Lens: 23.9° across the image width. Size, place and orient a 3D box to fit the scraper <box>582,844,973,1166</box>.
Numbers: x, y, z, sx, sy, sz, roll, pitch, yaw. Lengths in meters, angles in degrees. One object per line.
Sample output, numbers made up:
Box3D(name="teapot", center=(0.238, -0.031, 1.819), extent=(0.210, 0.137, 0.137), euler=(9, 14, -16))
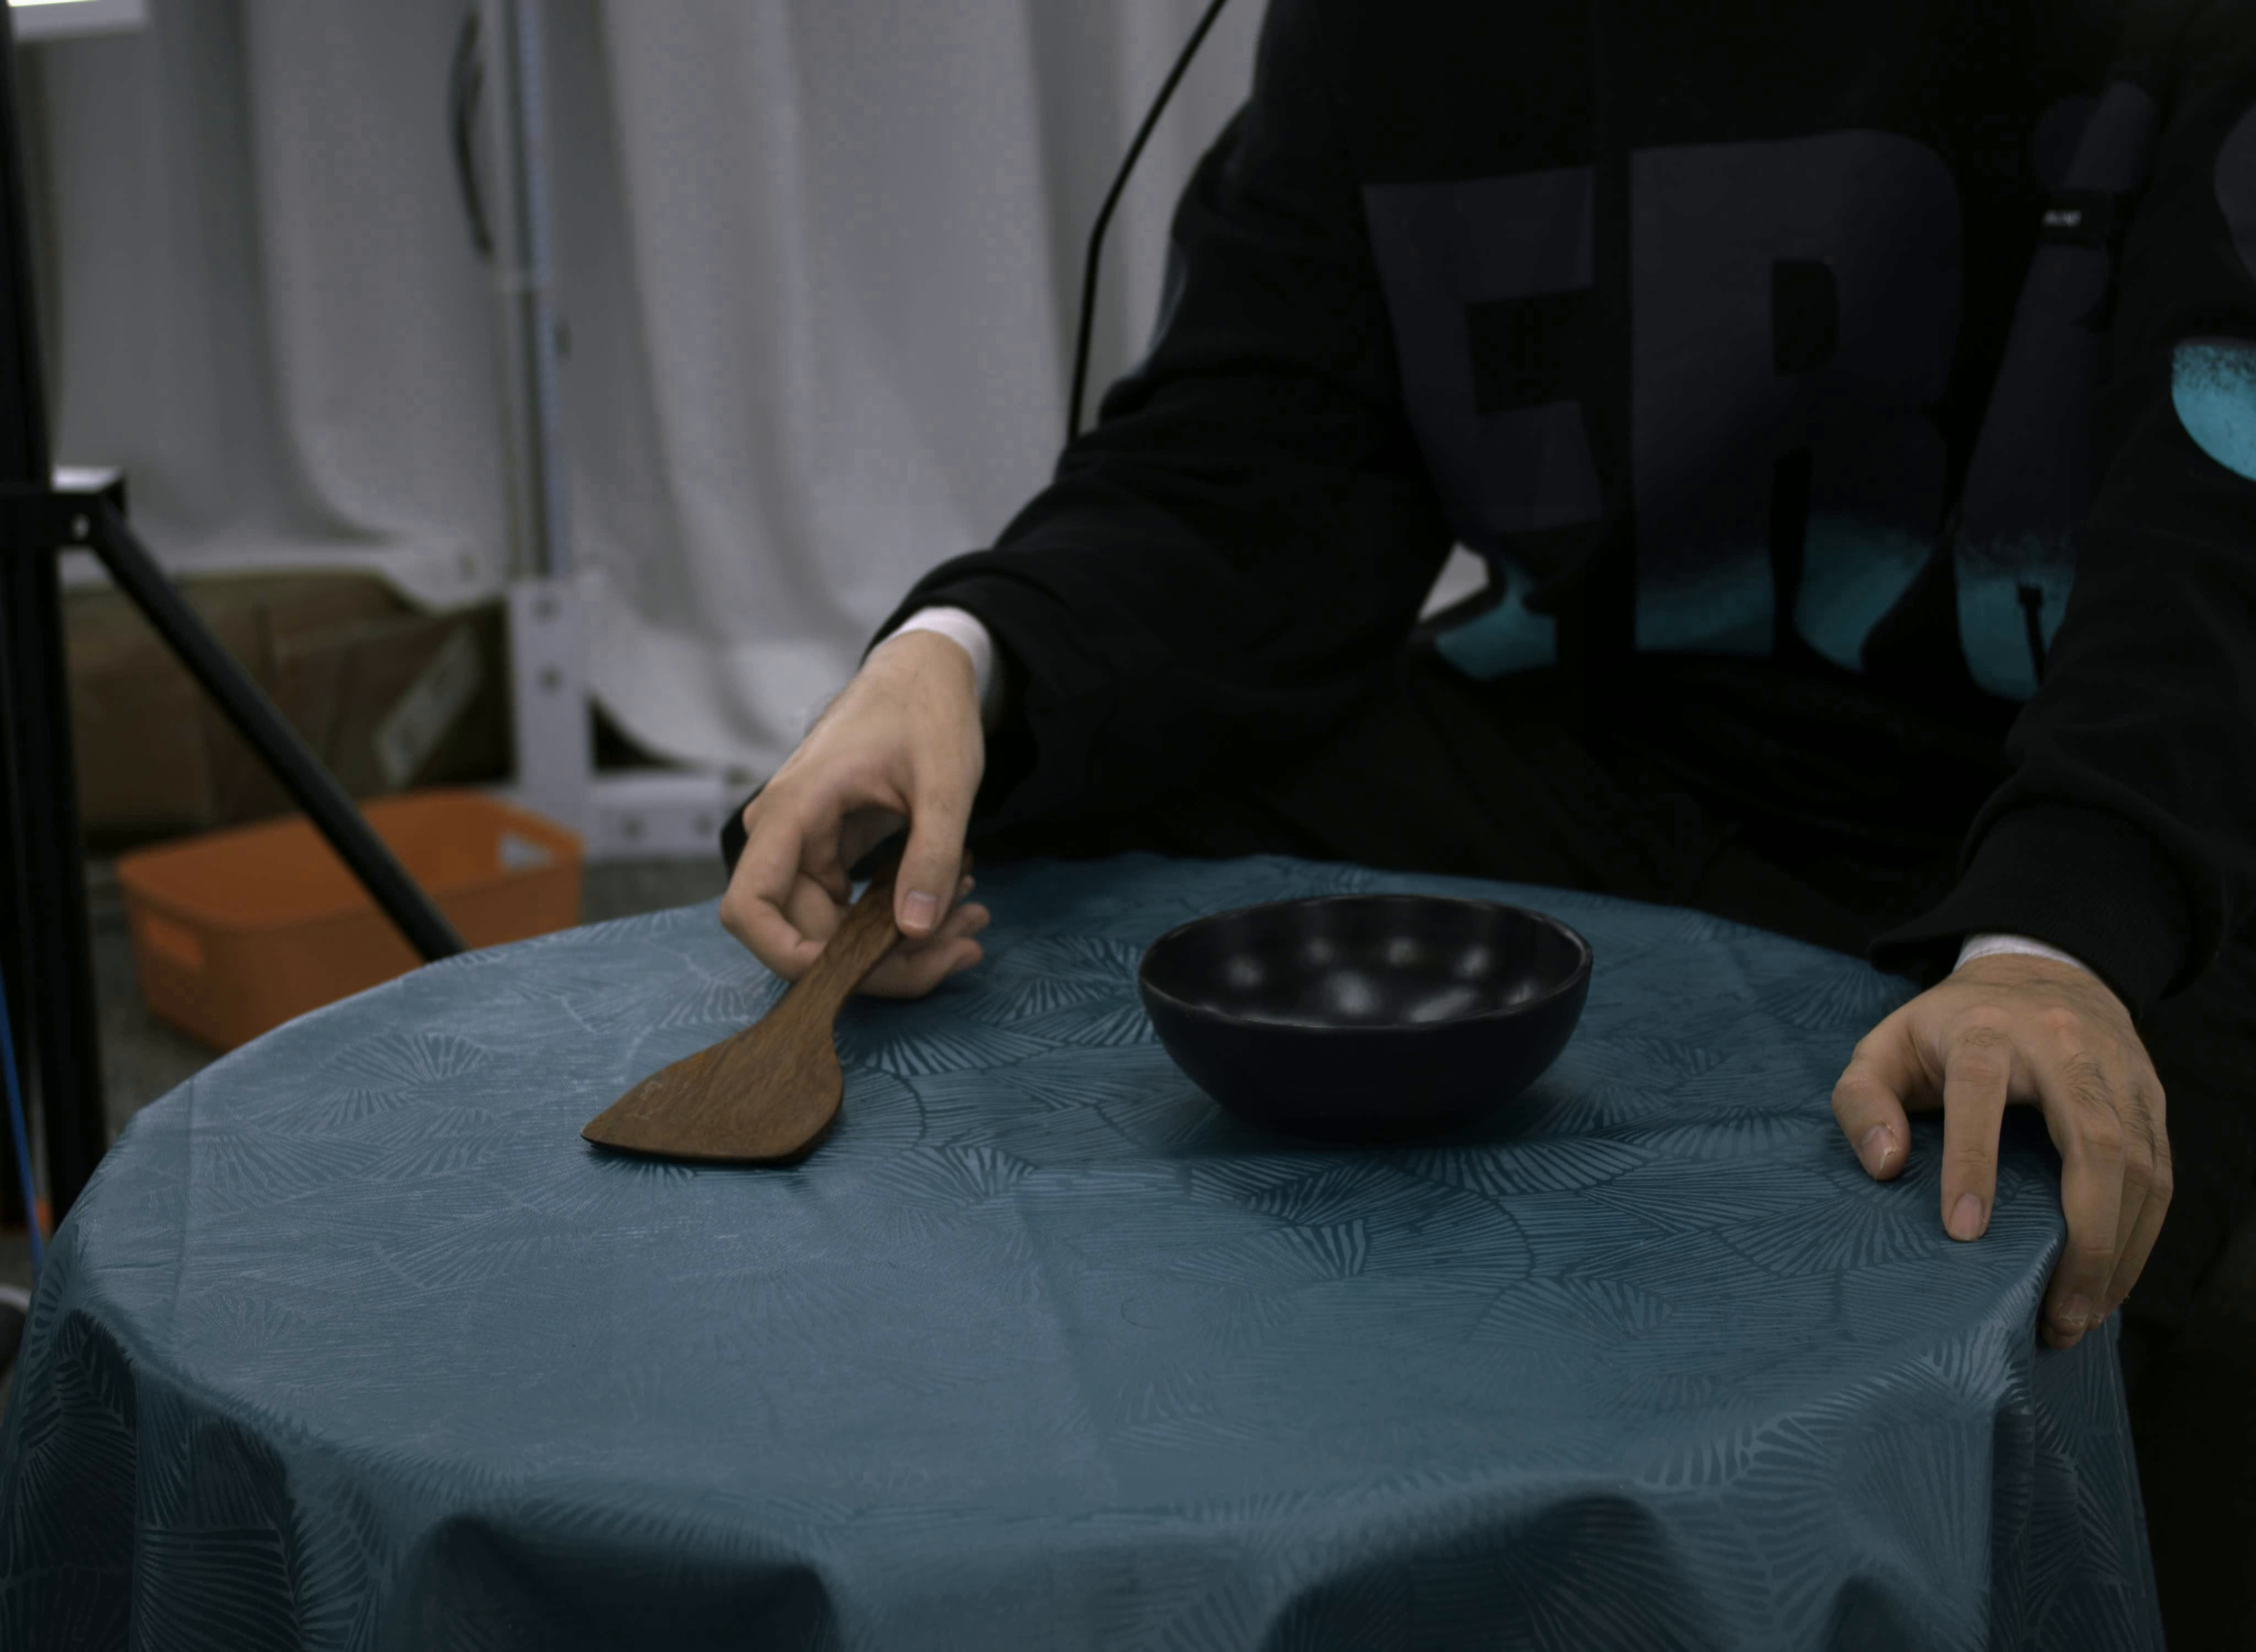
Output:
Box3D(name="scraper", center=(-0.098, 0.055, 1.688), extent=(0.077, 0.011, 0.209), euler=(5, 29, 21))

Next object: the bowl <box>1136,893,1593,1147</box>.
Box3D(name="bowl", center=(0.073, 0.064, 1.614), extent=(0.139, 0.050, 0.141), euler=(-5, 15, 0))
